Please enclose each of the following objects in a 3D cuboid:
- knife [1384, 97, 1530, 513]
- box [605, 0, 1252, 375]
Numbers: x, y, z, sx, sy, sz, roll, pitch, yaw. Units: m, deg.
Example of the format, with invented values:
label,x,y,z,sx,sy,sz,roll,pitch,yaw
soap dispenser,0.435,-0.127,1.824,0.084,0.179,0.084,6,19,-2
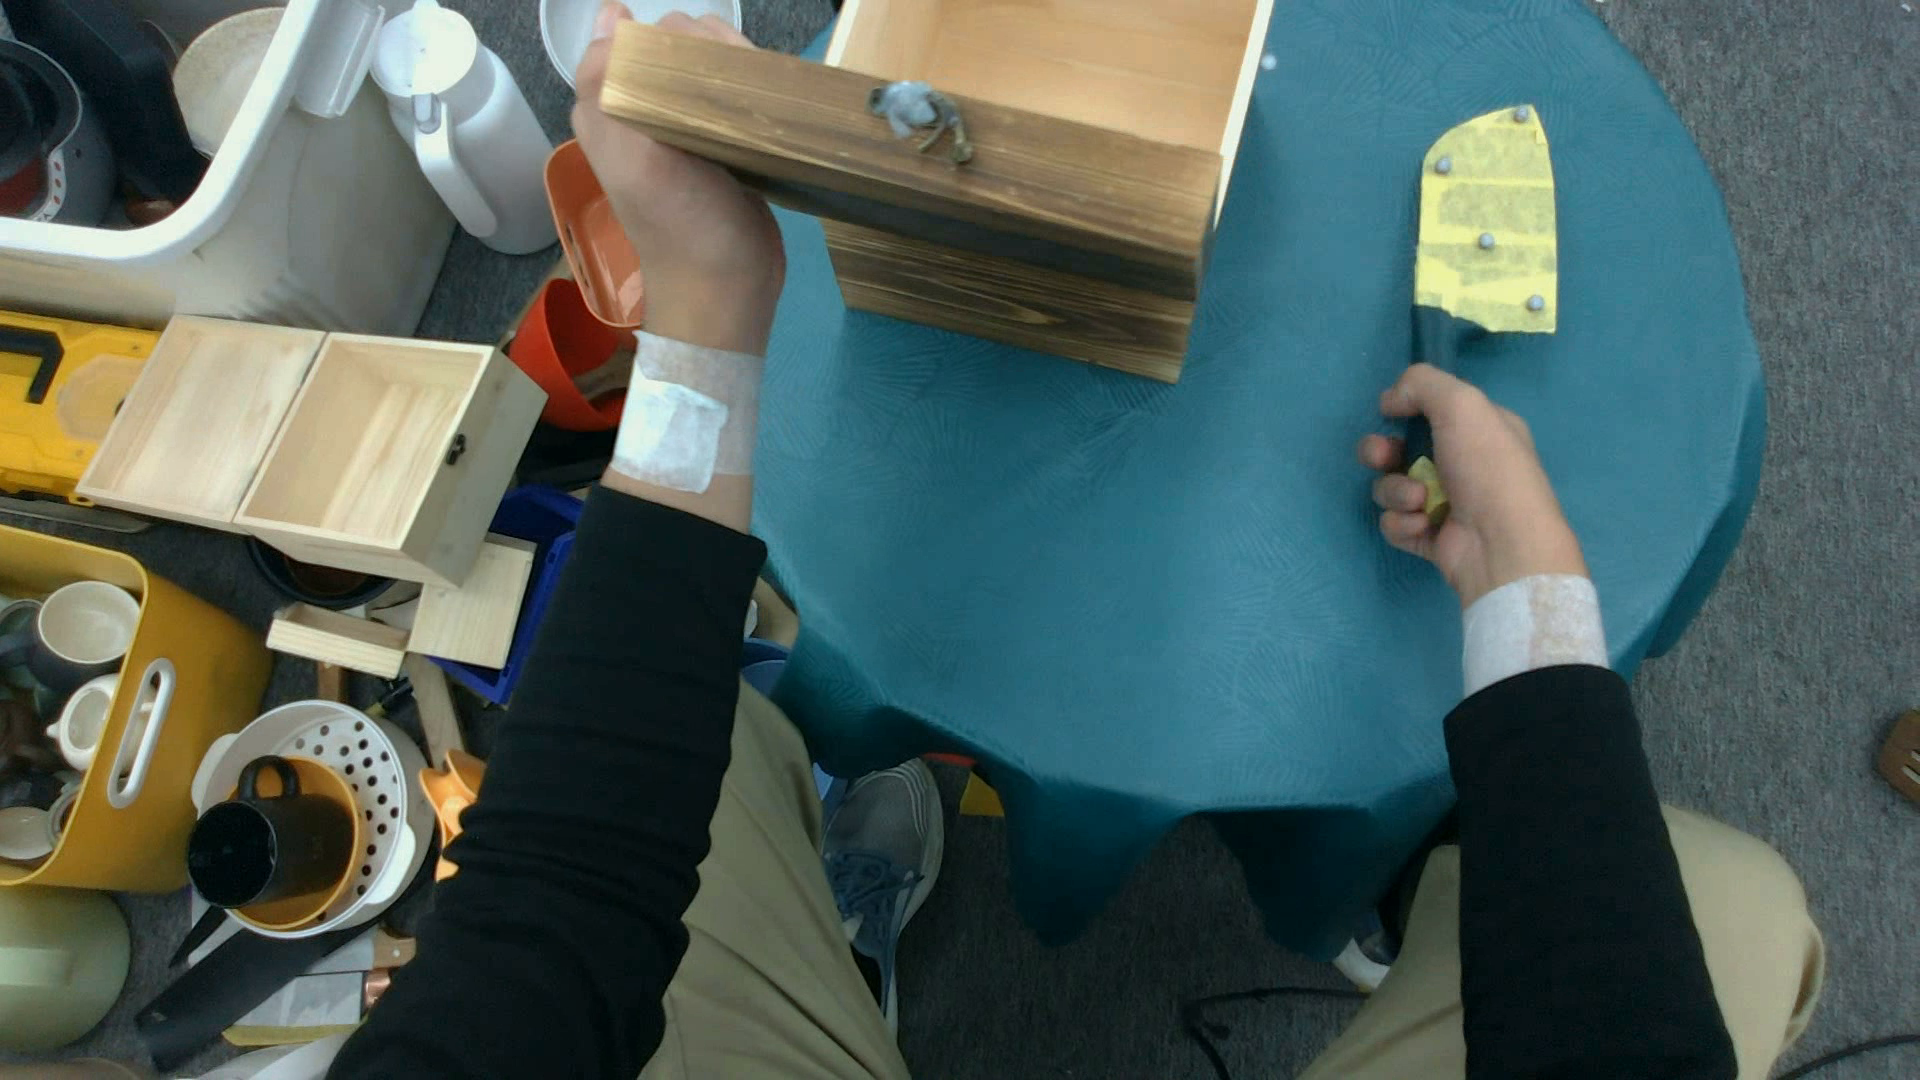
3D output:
label,x,y,z,sx,sy,sz,roll,pitch,yaw
knife,0.274,-0.140,0.764,0.081,0.027,0.290,8,63,14
box,0.023,-0.215,0.638,0.208,0.374,0.323,15,74,6
